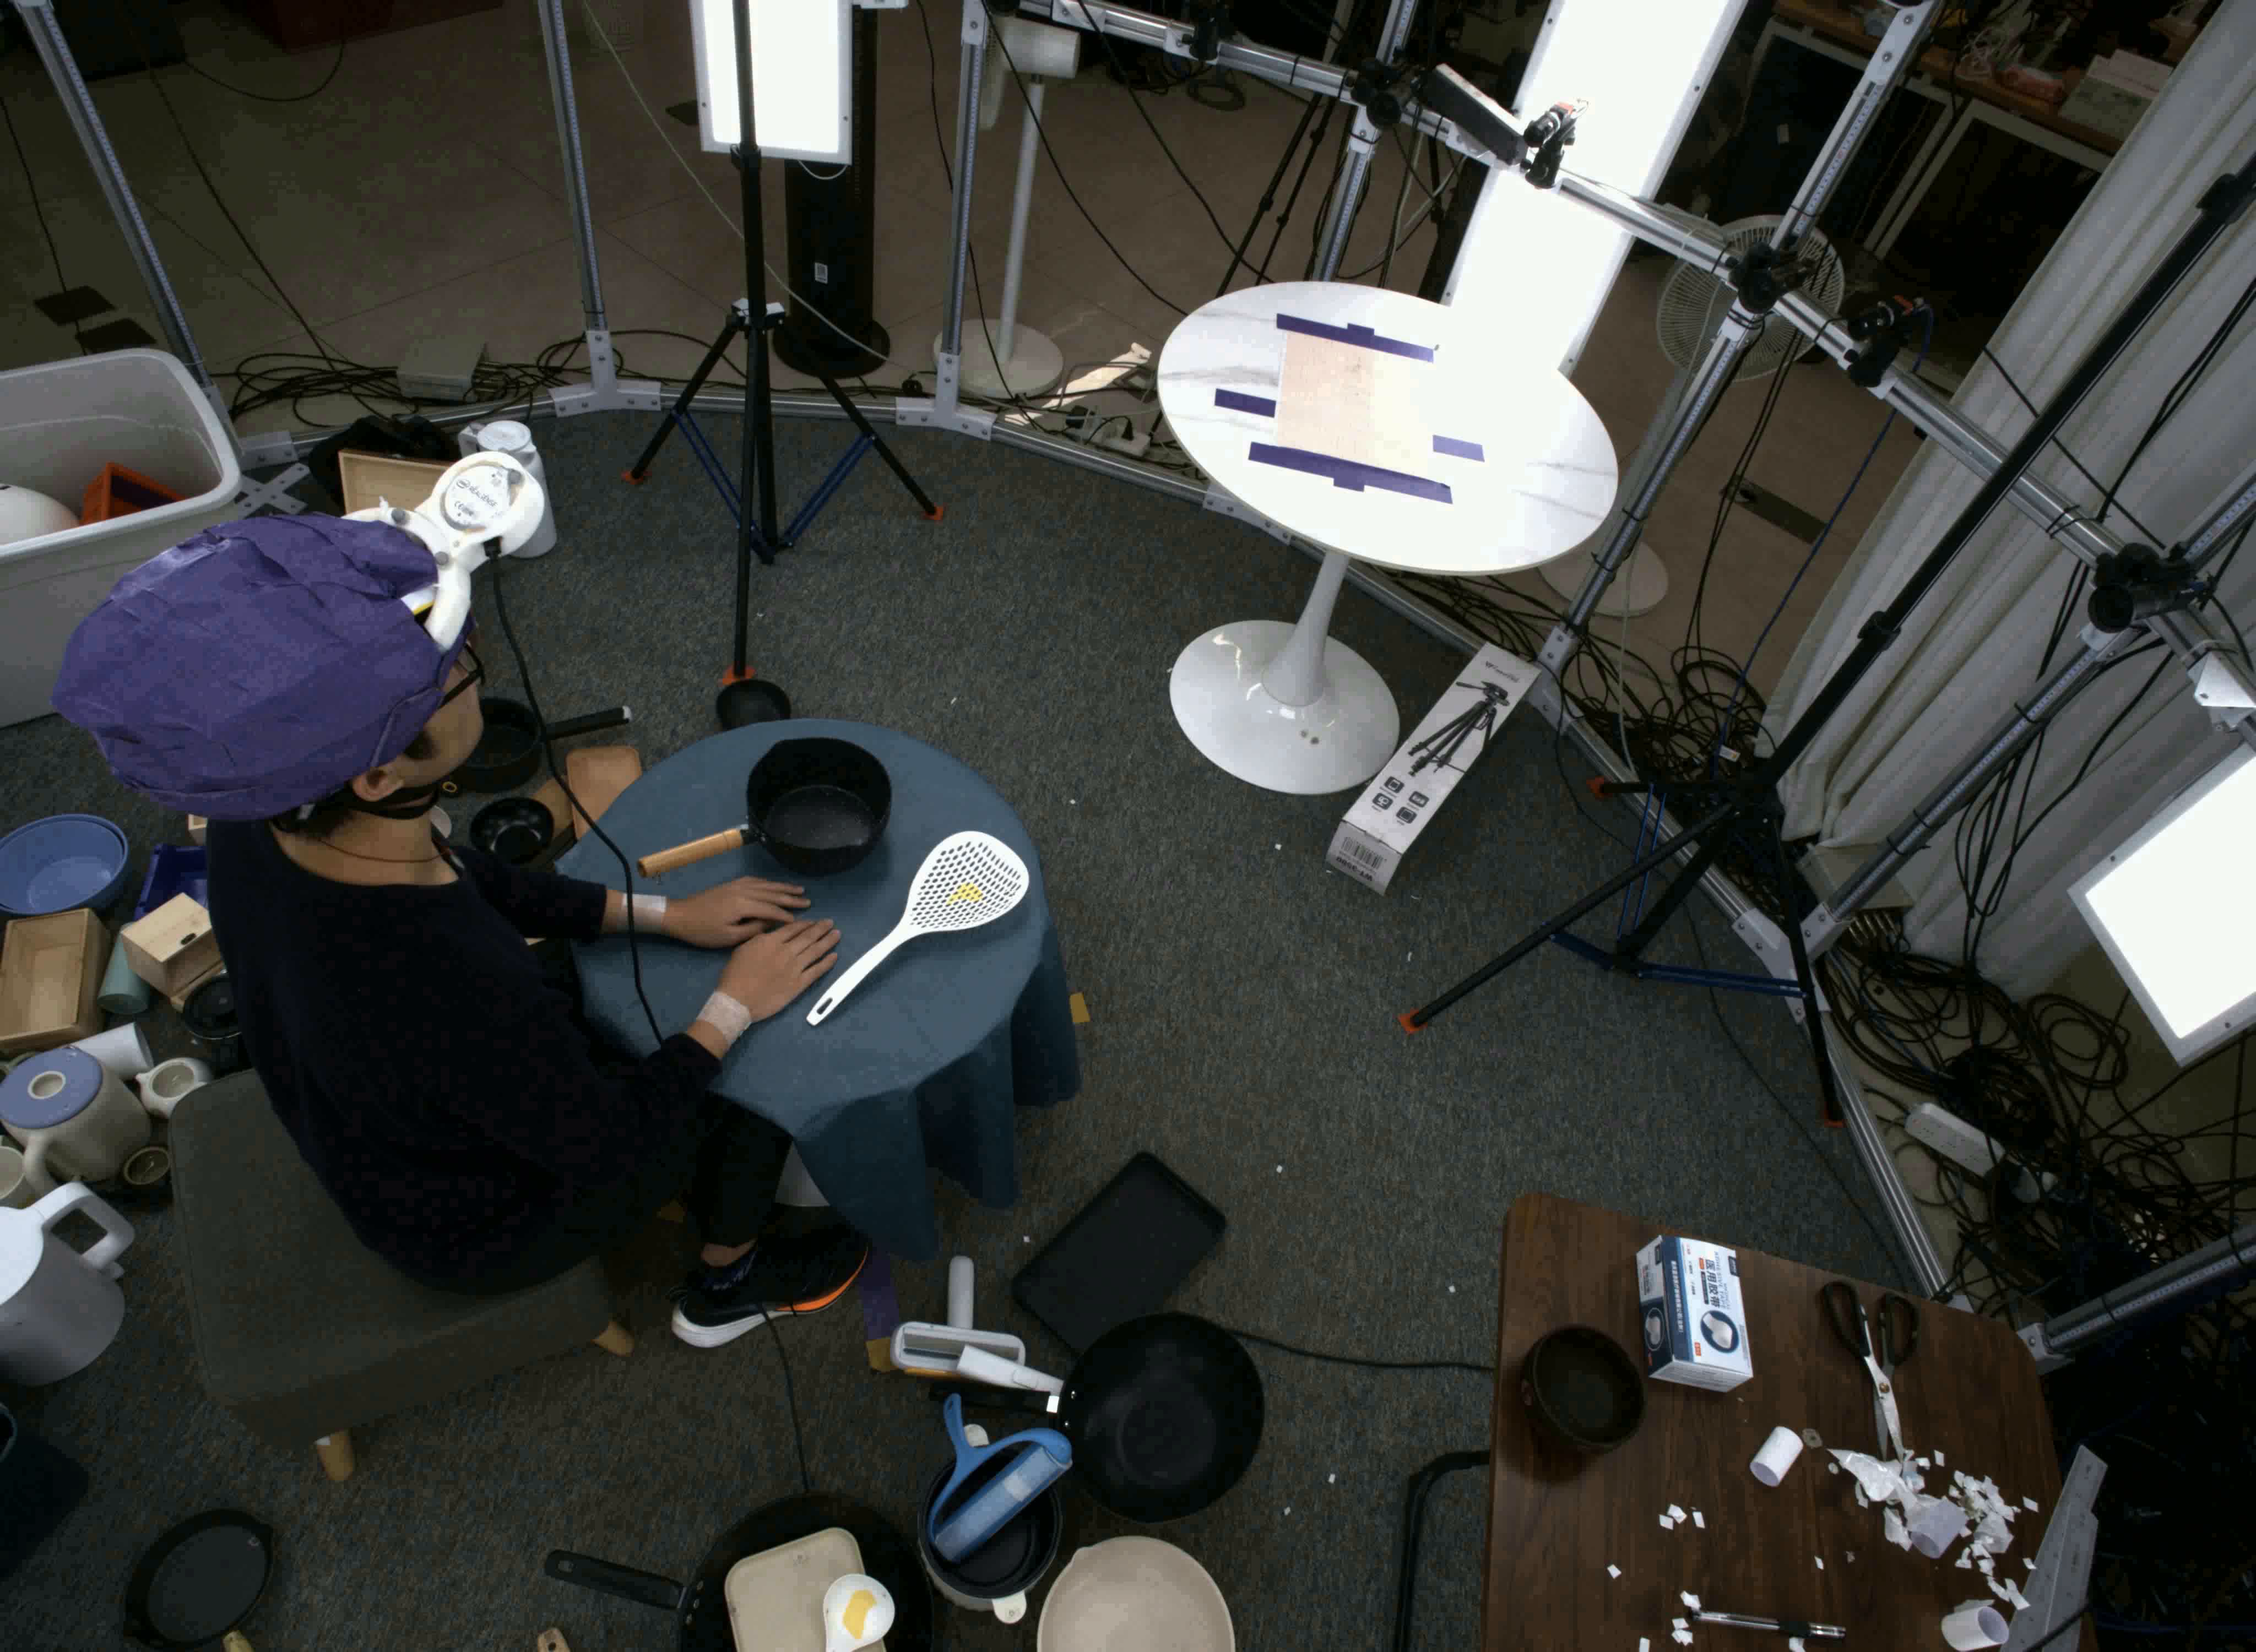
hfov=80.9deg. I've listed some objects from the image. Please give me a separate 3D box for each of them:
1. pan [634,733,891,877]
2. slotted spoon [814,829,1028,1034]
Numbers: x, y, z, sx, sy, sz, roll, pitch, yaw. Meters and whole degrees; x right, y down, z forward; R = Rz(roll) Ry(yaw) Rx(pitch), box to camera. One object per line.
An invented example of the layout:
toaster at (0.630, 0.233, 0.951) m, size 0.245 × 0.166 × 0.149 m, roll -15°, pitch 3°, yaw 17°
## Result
pan at (-0.458, 0.006, 1.630) m, size 0.344 × 0.110 × 0.203 m, roll -31°, pitch 67°, yaw -33°
slotted spoon at (-0.268, 0.130, 1.630) m, size 0.134 × 0.051 × 0.348 m, roll 38°, pitch 52°, yaw 13°
